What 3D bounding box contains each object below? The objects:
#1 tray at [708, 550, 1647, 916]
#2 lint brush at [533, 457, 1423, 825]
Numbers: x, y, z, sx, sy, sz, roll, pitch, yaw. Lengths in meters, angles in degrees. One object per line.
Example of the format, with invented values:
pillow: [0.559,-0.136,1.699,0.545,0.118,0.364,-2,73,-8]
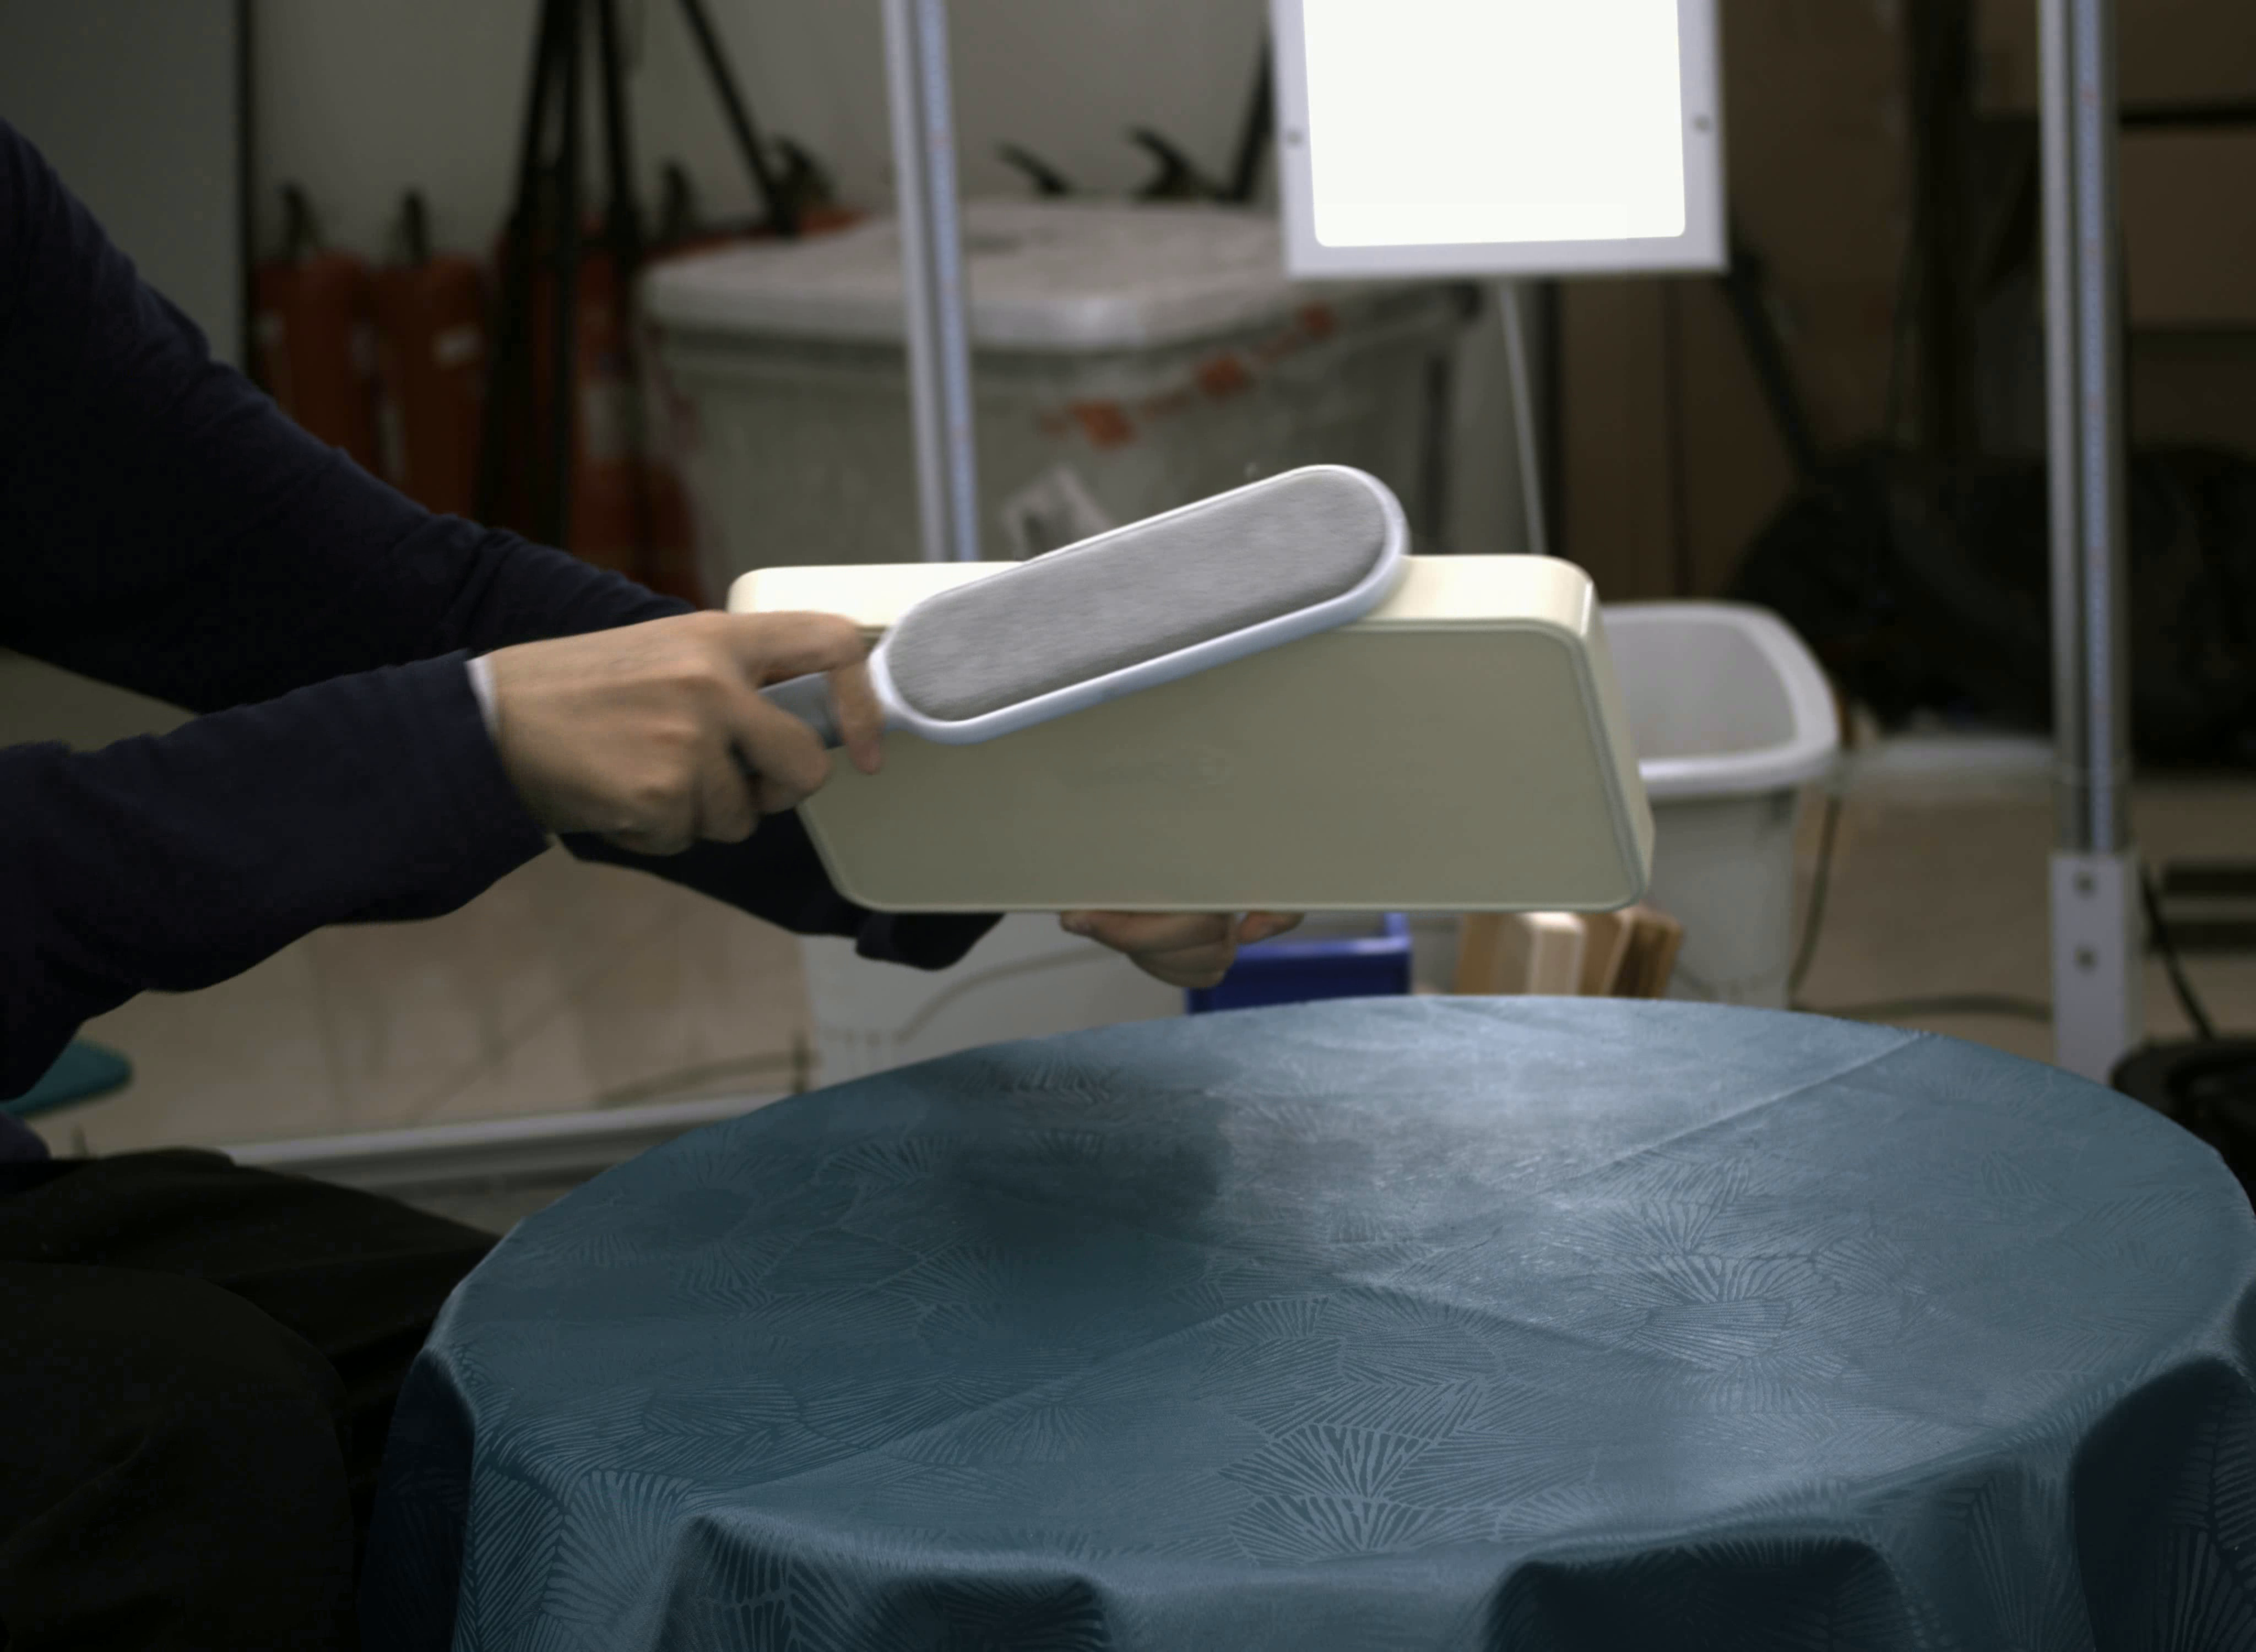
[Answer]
tray: [0.020,-0.028,1.897,0.303,0.190,0.027,-1,58,17]
lint brush: [-0.050,-0.057,1.811,0.310,0.060,0.021,-18,-26,7]
